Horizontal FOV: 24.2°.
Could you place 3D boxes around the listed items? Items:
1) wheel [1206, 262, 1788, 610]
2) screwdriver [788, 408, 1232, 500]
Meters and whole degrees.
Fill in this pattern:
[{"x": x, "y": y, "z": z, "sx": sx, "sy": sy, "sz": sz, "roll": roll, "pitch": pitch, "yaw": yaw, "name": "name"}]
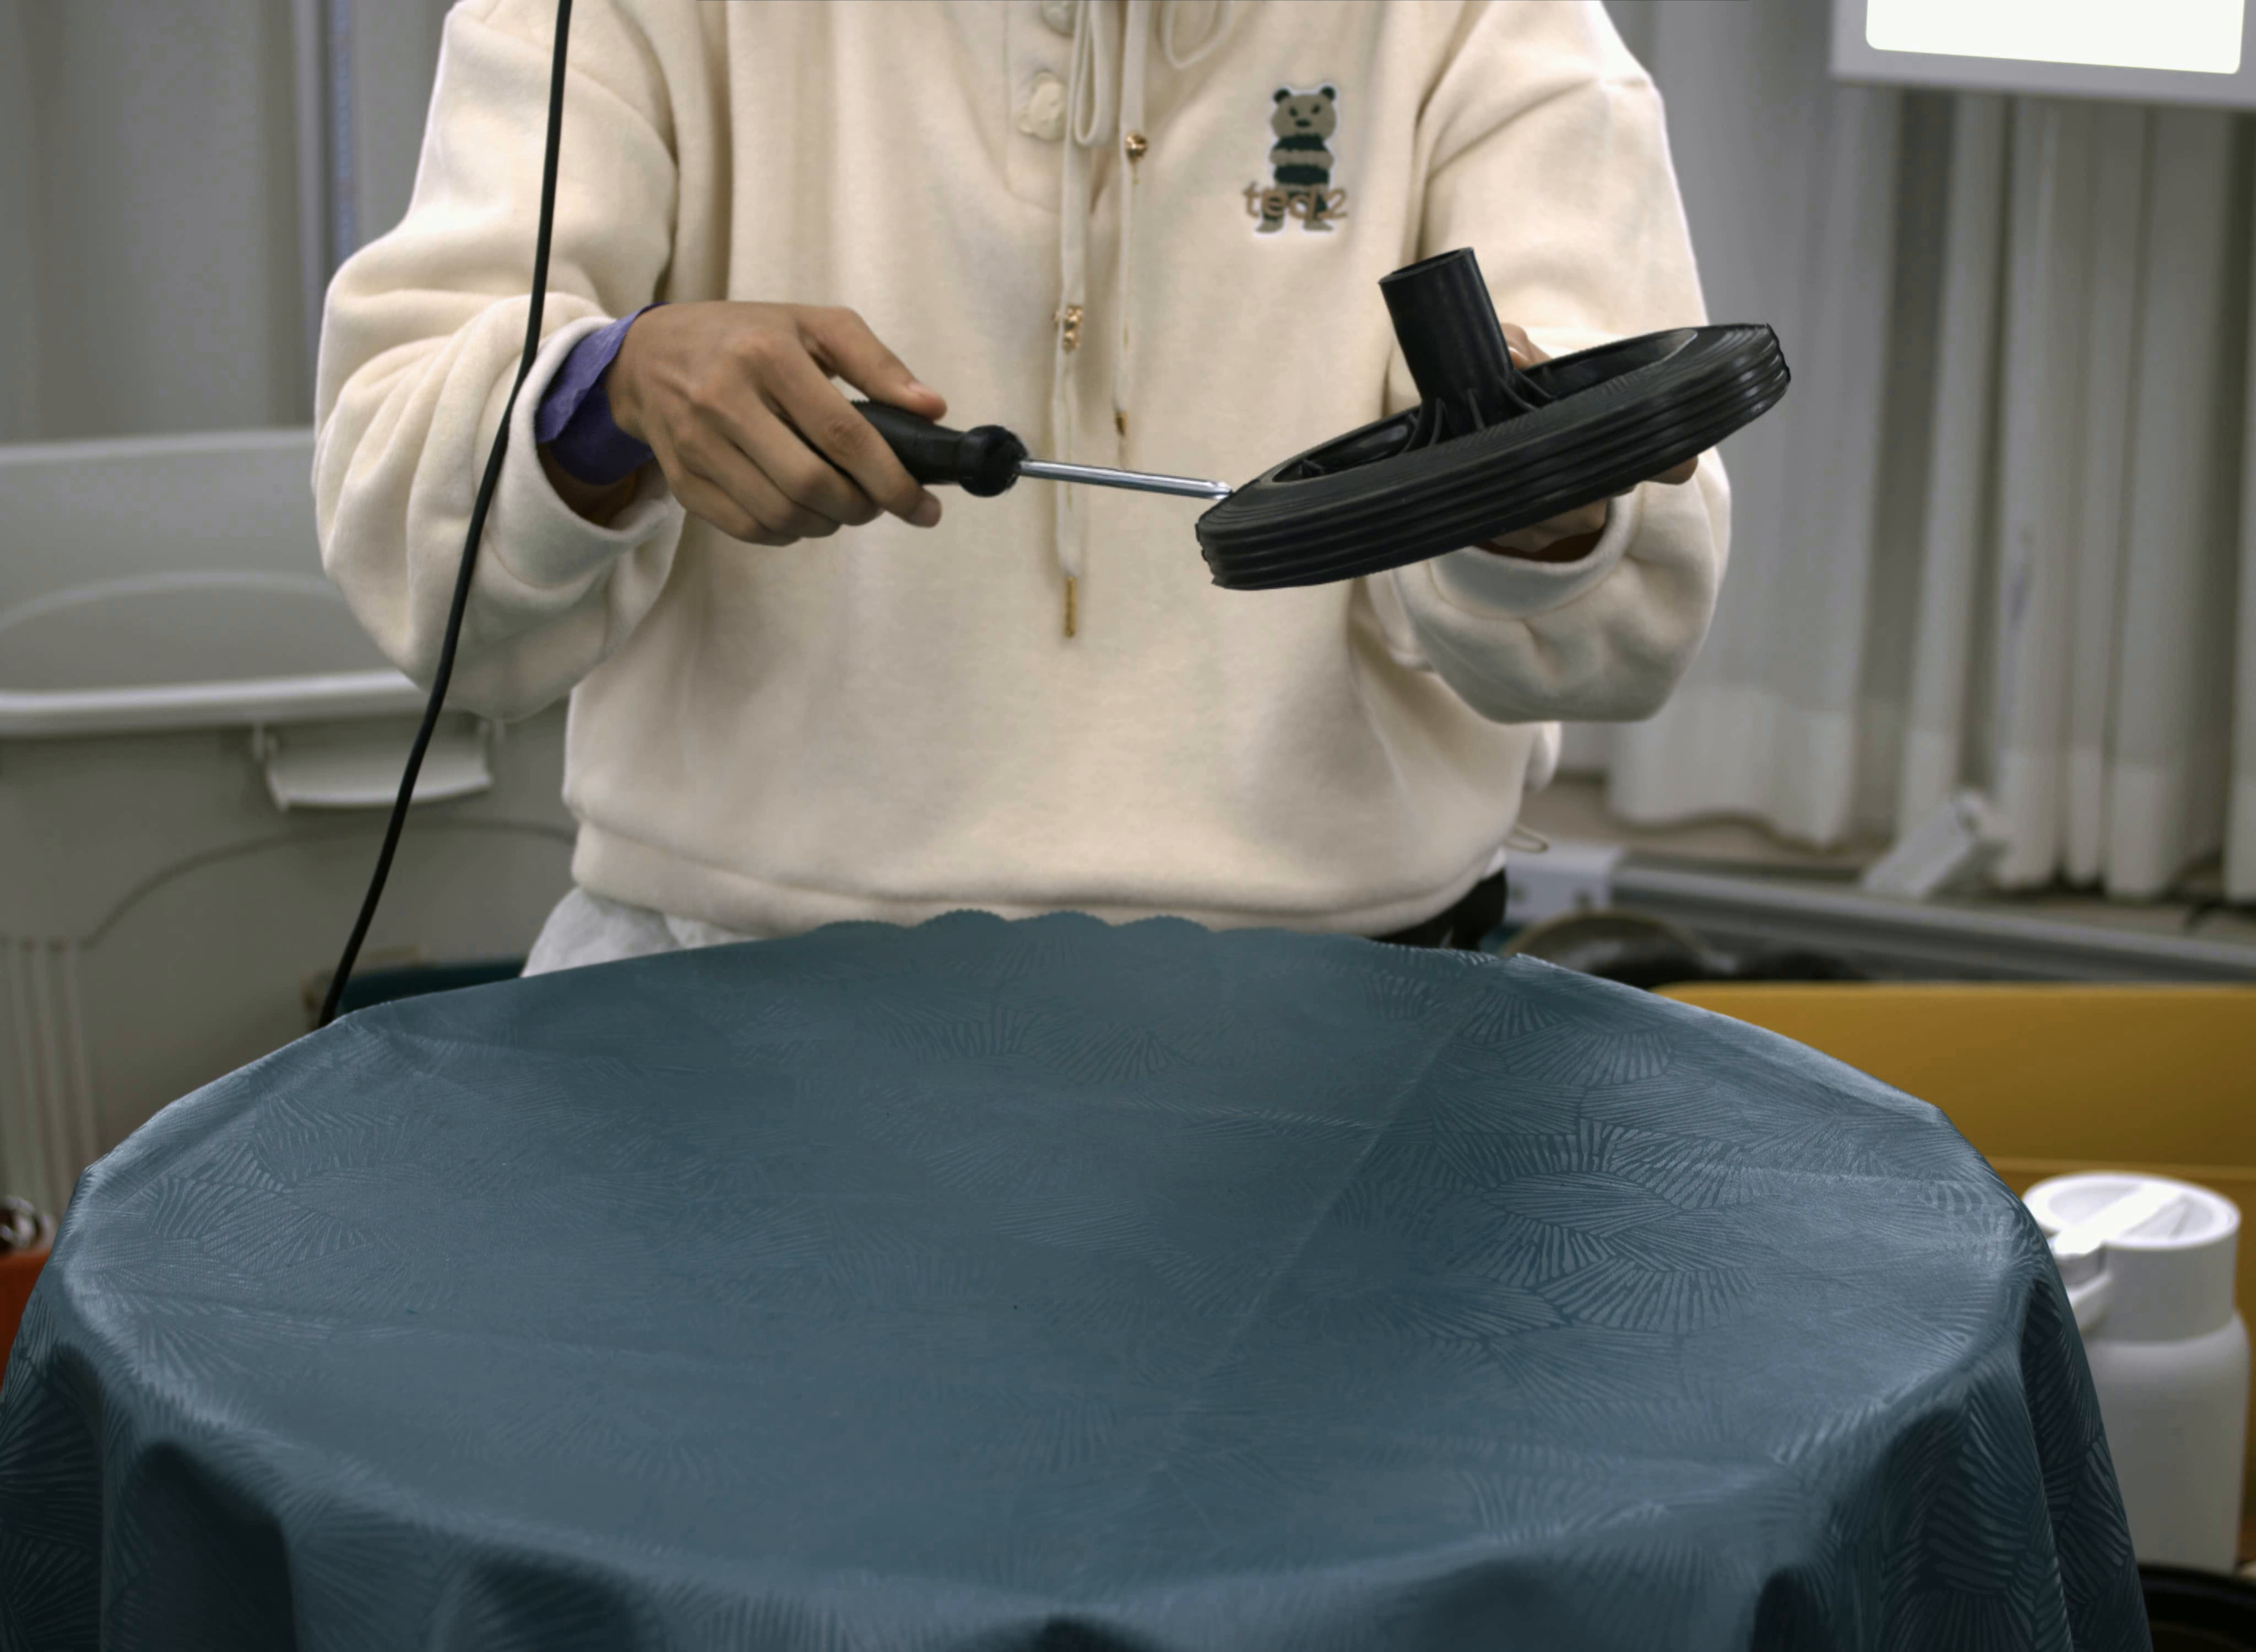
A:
[{"x": 0.105, "y": -0.131, "z": 1.617, "sx": 0.186, "sy": 0.080, "sz": 0.190, "roll": -12, "pitch": 15, "yaw": 42, "name": "wheel"}, {"x": -0.039, "y": -0.121, "z": 1.714, "sx": 0.194, "sy": 0.031, "sz": 0.031, "roll": 5, "pitch": 14, "yaw": 42, "name": "screwdriver"}]
